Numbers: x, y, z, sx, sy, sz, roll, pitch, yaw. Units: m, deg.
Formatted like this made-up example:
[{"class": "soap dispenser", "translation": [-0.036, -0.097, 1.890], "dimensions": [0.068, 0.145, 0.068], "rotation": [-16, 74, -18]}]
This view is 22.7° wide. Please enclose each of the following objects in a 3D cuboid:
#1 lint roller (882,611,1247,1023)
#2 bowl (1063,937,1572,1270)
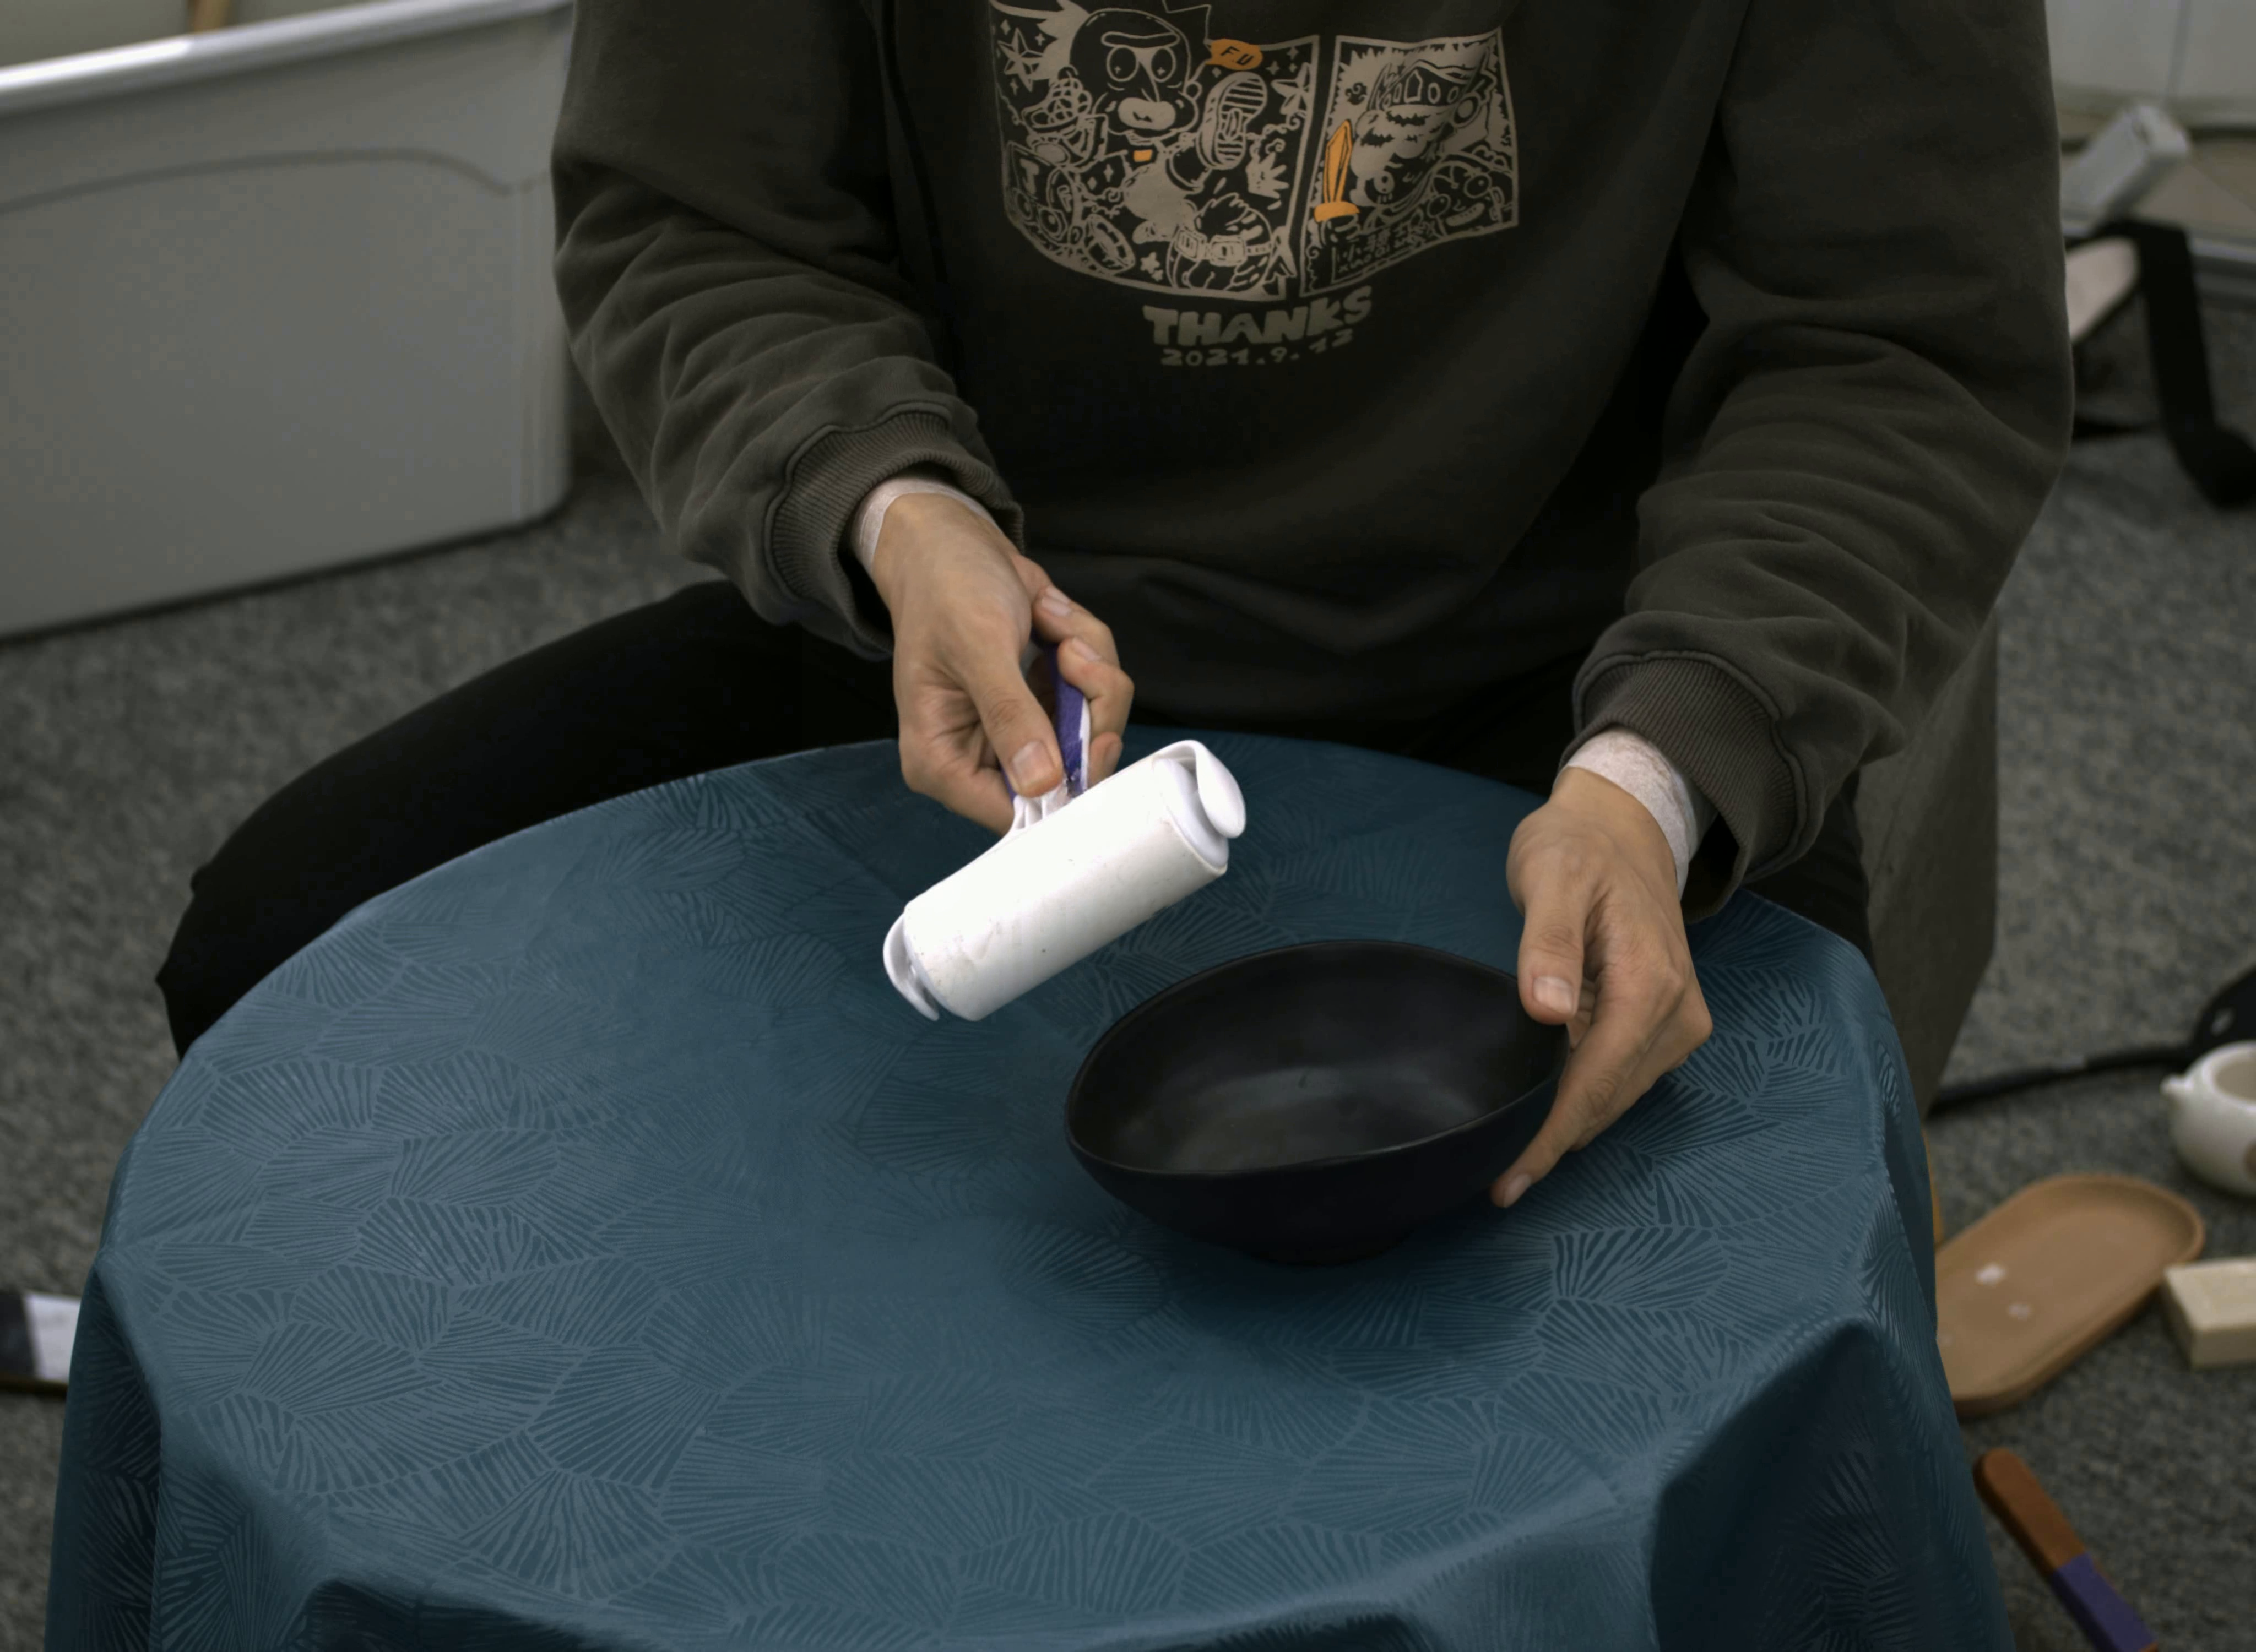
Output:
[{"class": "lint roller", "translation": [-0.030, -0.023, 1.897], "dimensions": [0.131, 0.050, 0.184], "rotation": [-30, 41, 16]}, {"class": "bowl", "translation": [0.064, 0.100, 1.828], "dimensions": [0.171, 0.066, 0.138], "rotation": [-14, 28, -17]}]
